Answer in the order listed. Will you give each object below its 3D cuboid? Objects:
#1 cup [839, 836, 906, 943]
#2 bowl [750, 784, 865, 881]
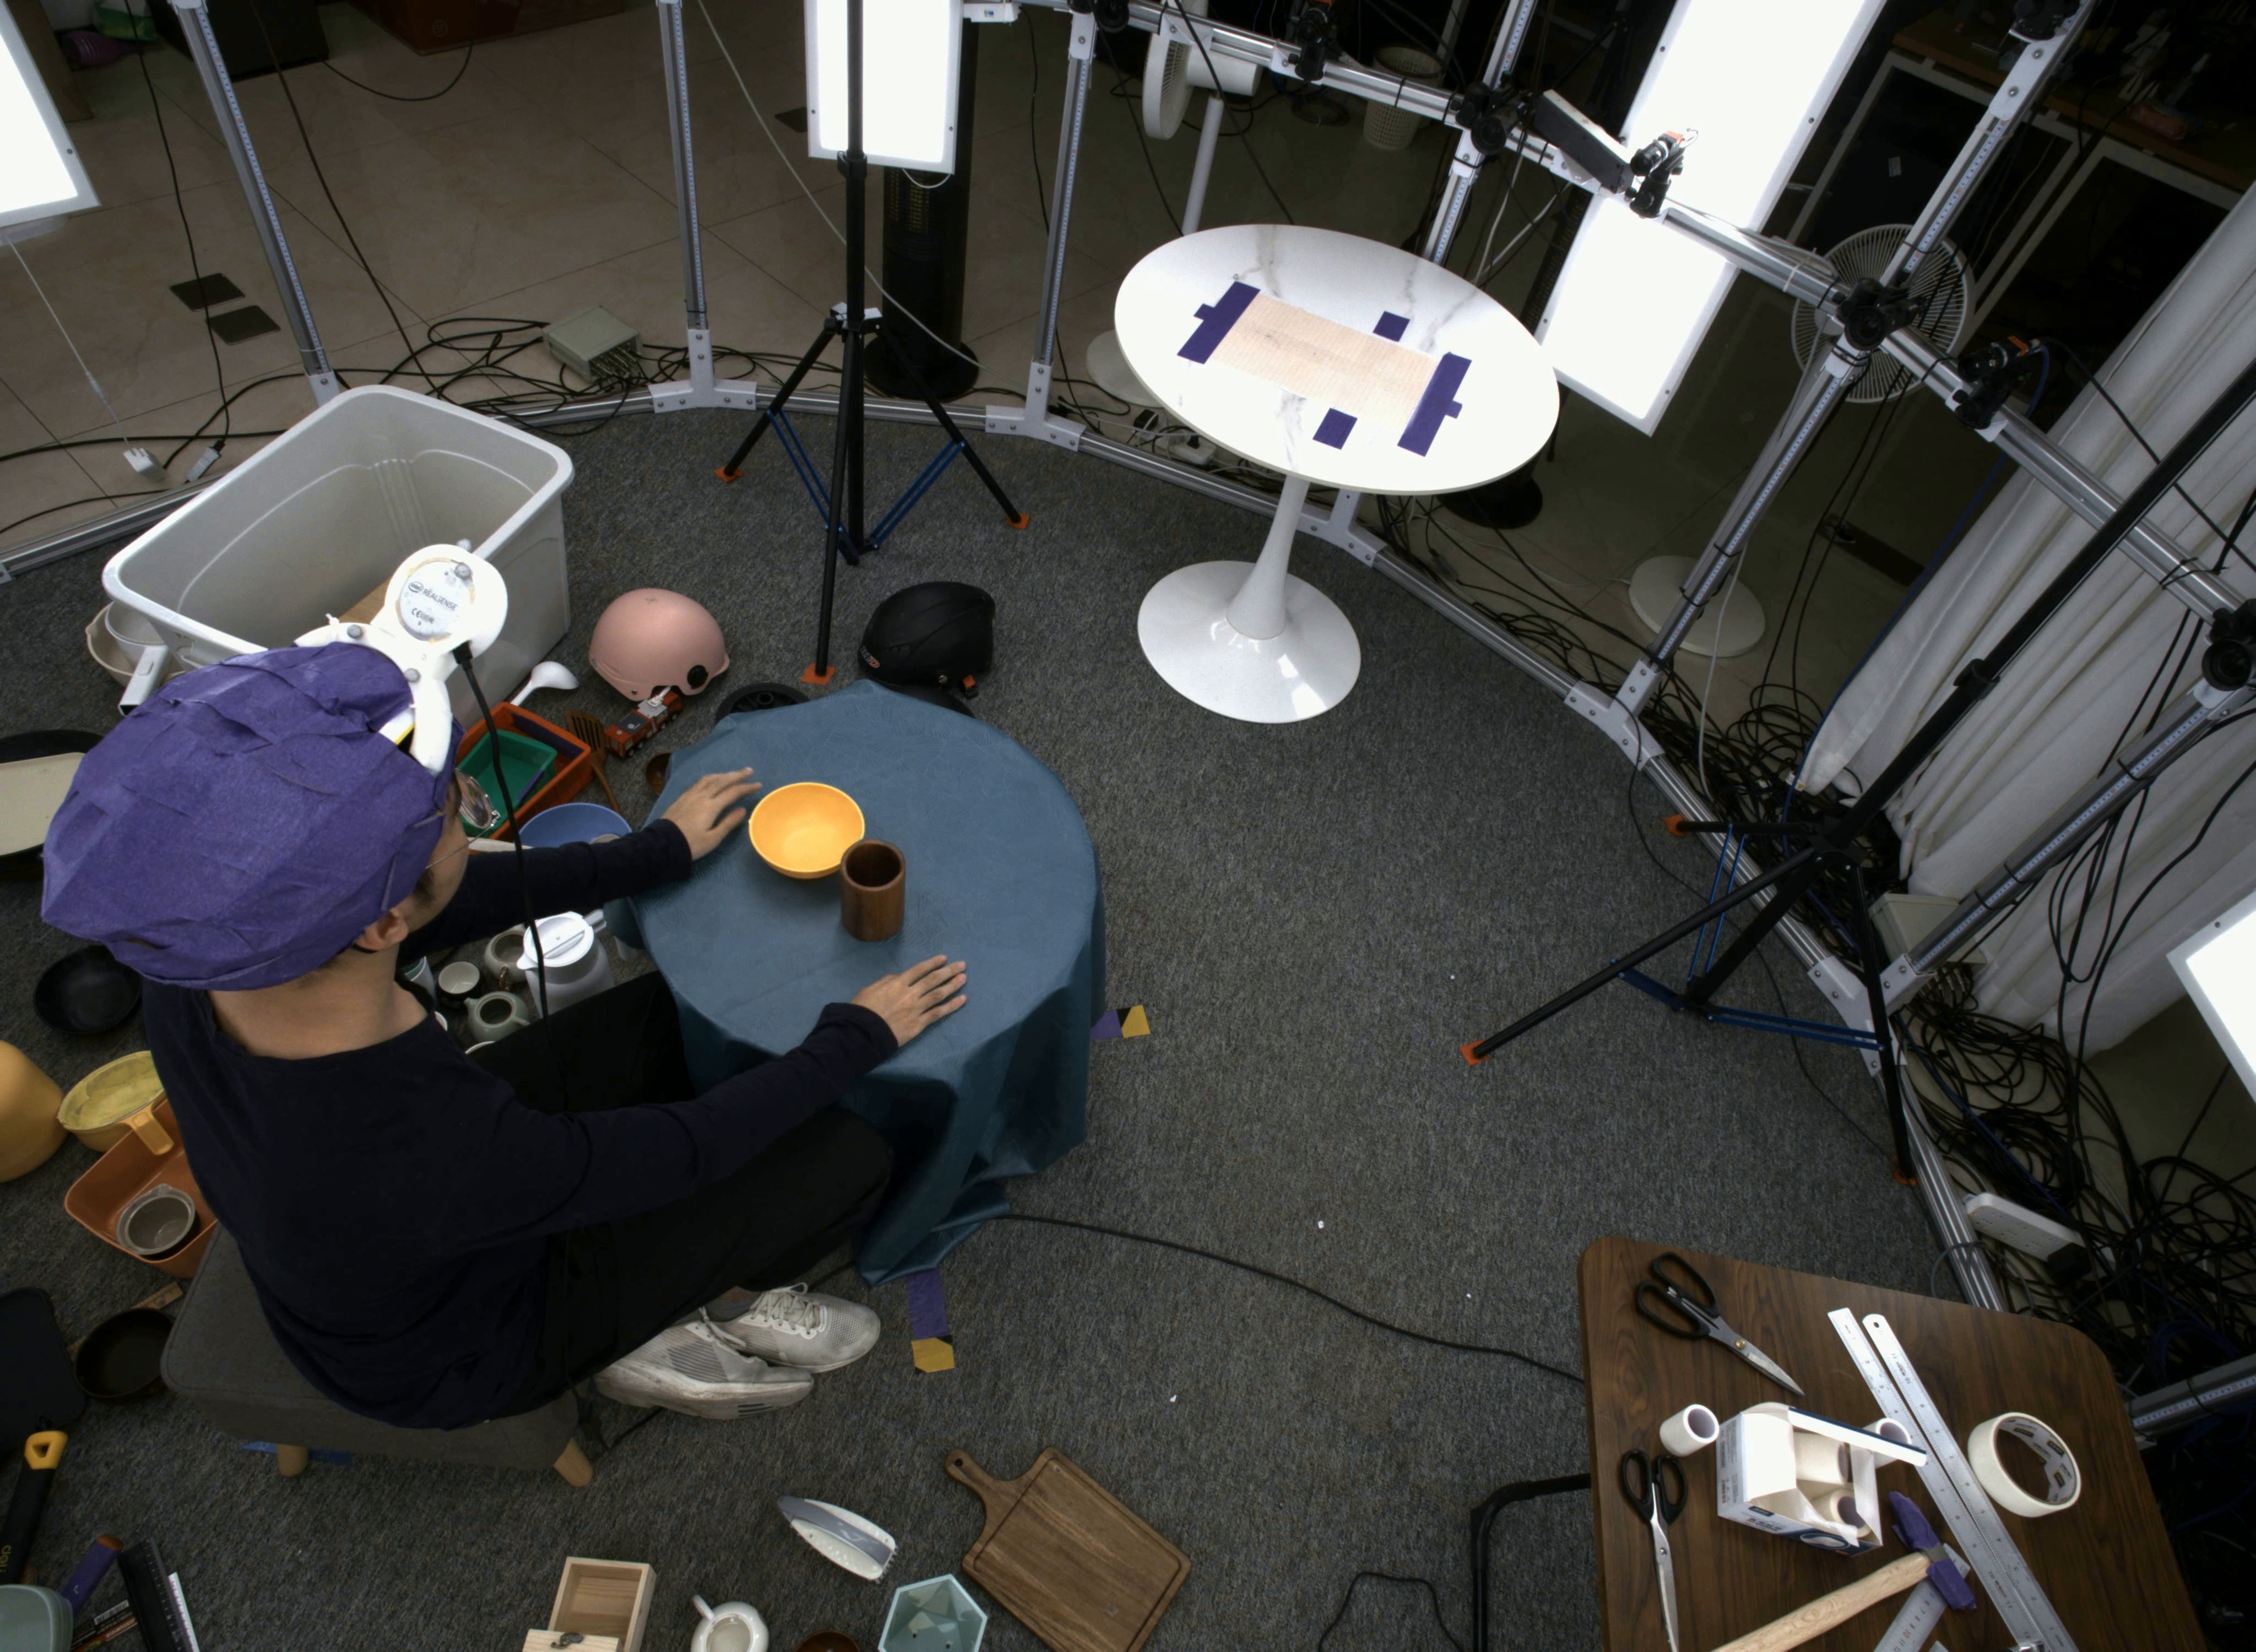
[{"bbox_3d":[-0.316,0.080,1.618,0.087,0.121,0.086,5,51,-5],"label":"cup"},{"bbox_3d":[-0.412,0.019,1.678,0.145,0.061,0.143,6,54,-7],"label":"bowl"}]
